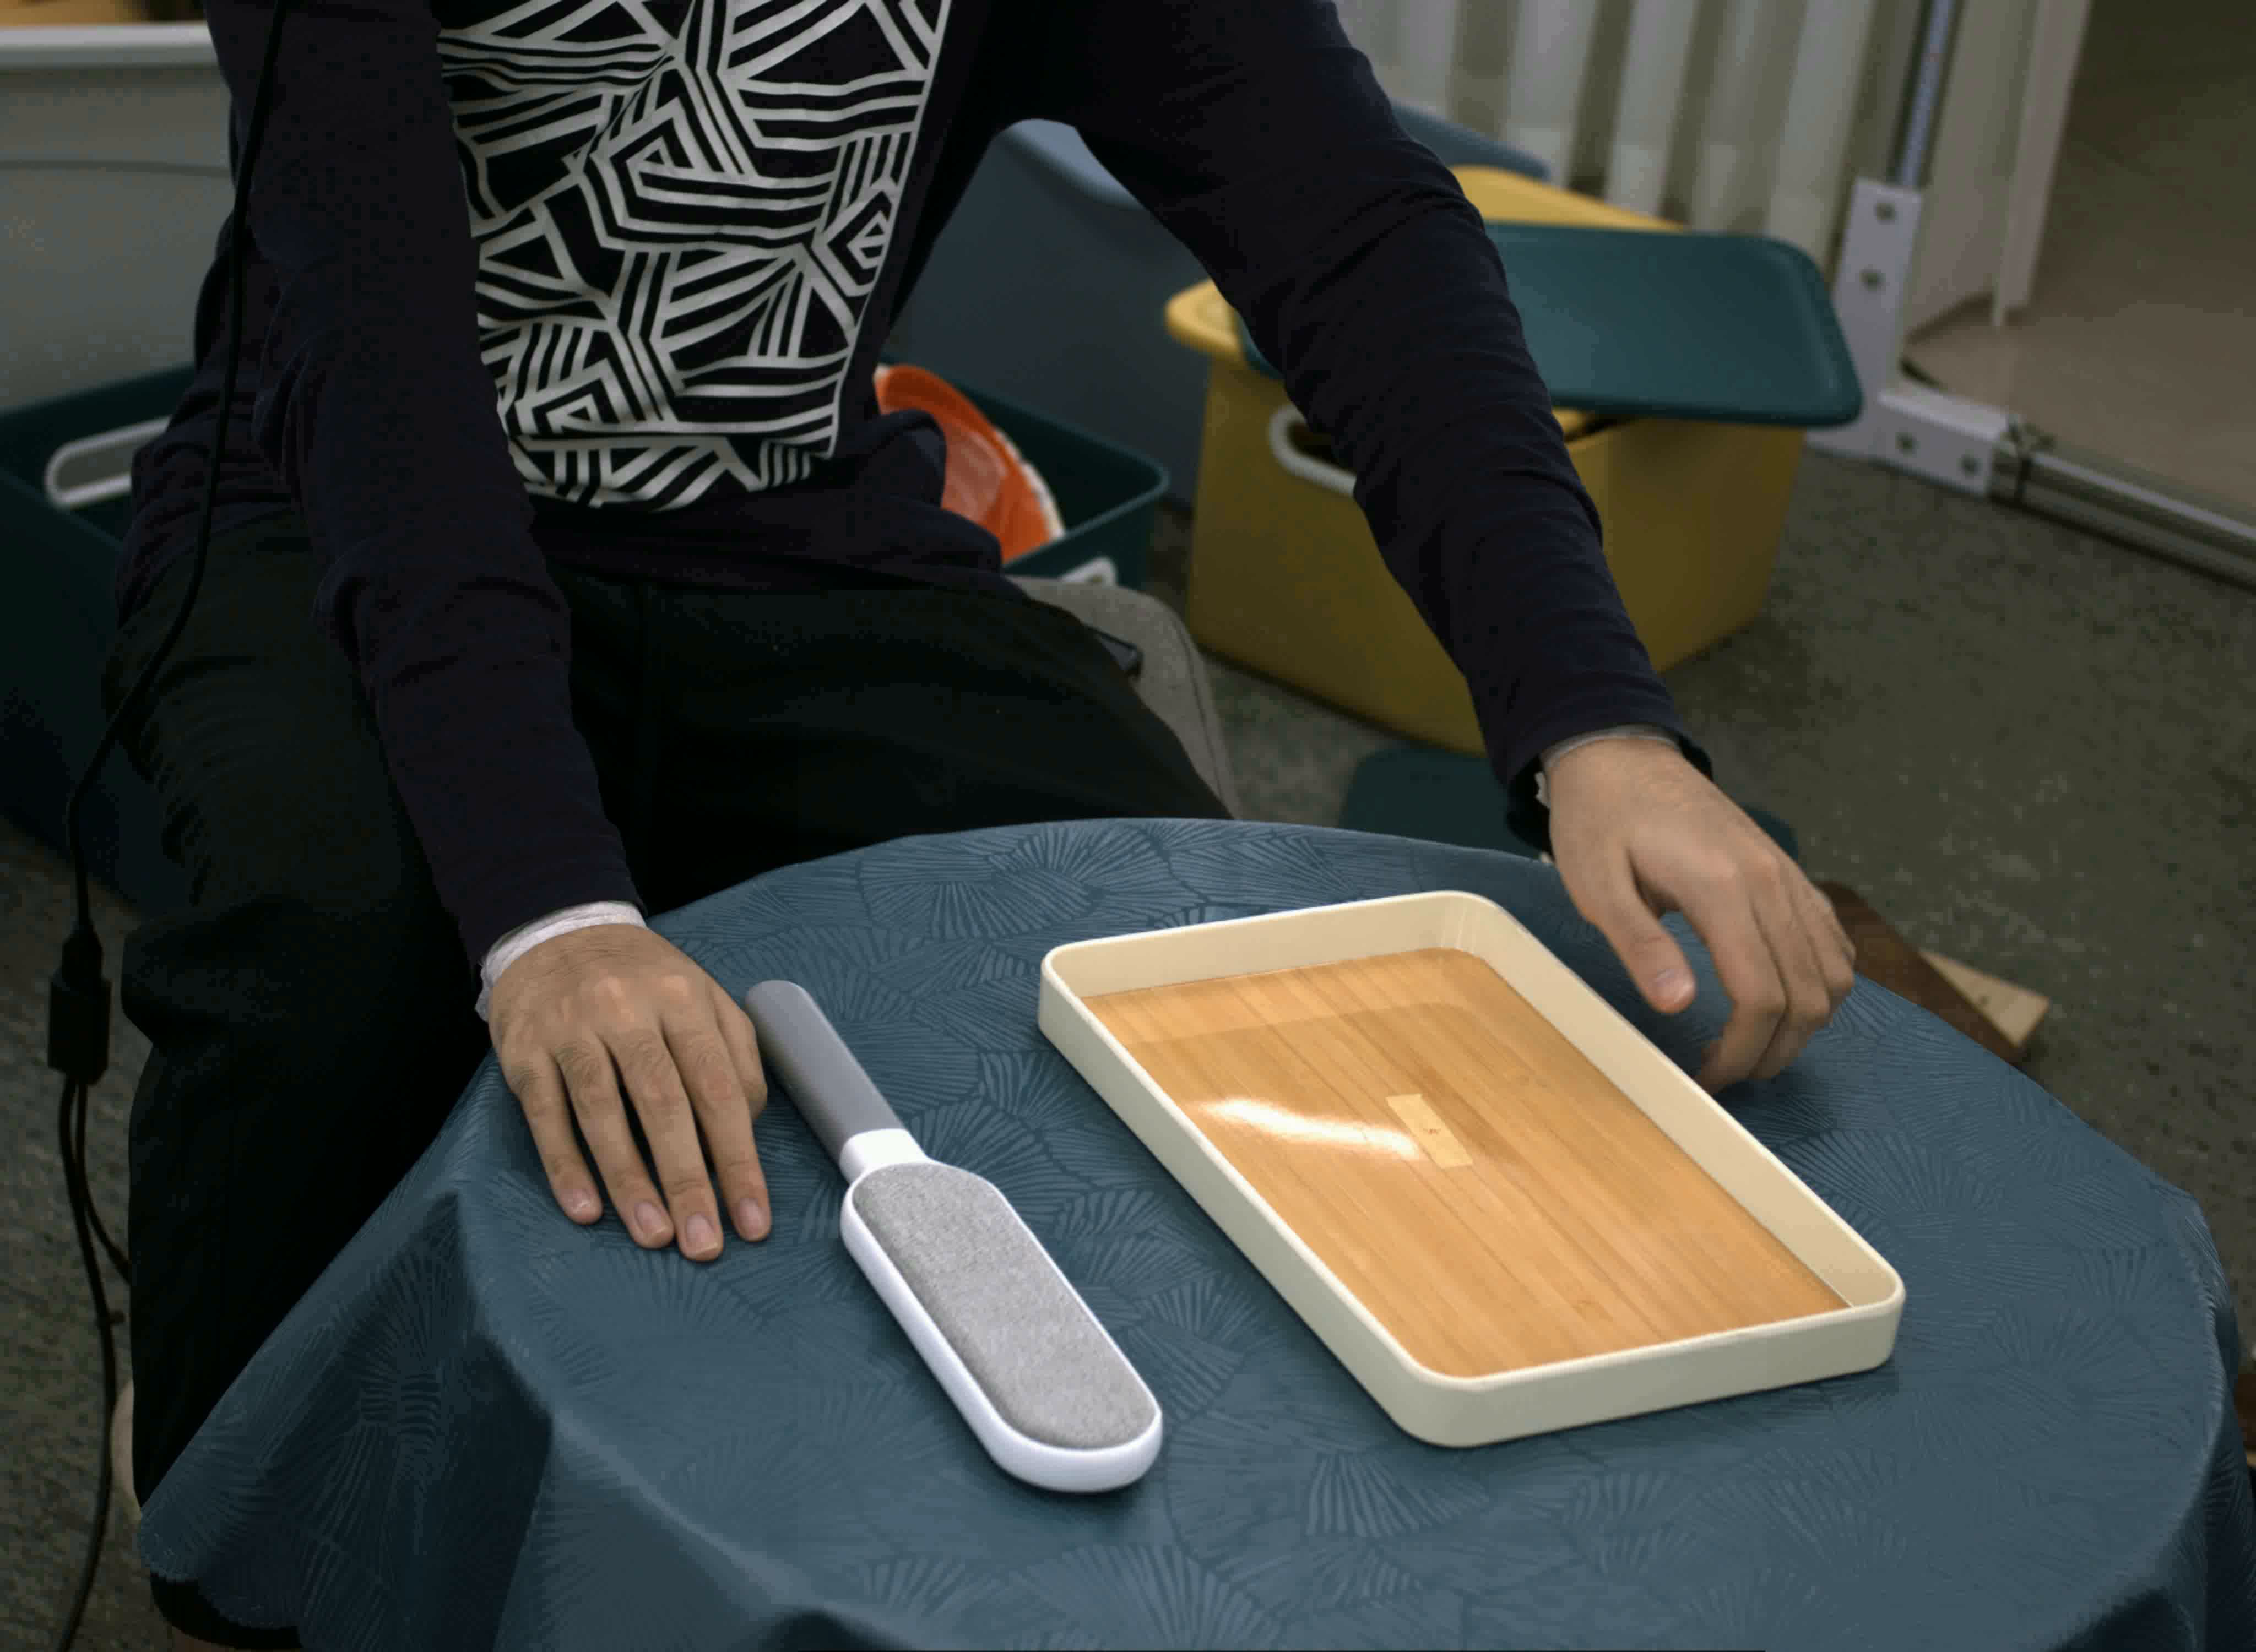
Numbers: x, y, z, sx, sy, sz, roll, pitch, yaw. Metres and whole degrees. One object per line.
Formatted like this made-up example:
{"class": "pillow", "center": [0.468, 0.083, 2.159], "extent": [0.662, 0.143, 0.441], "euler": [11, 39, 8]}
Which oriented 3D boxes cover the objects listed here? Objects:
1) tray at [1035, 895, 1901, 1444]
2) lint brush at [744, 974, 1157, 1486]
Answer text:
{"class": "tray", "center": [0.110, 0.111, 1.826], "extent": [0.190, 0.027, 0.303], "euler": [-7, 29, -25]}
{"class": "lint brush", "center": [-0.066, 0.128, 1.754], "extent": [0.060, 0.021, 0.312], "euler": [-11, 31, -20]}
